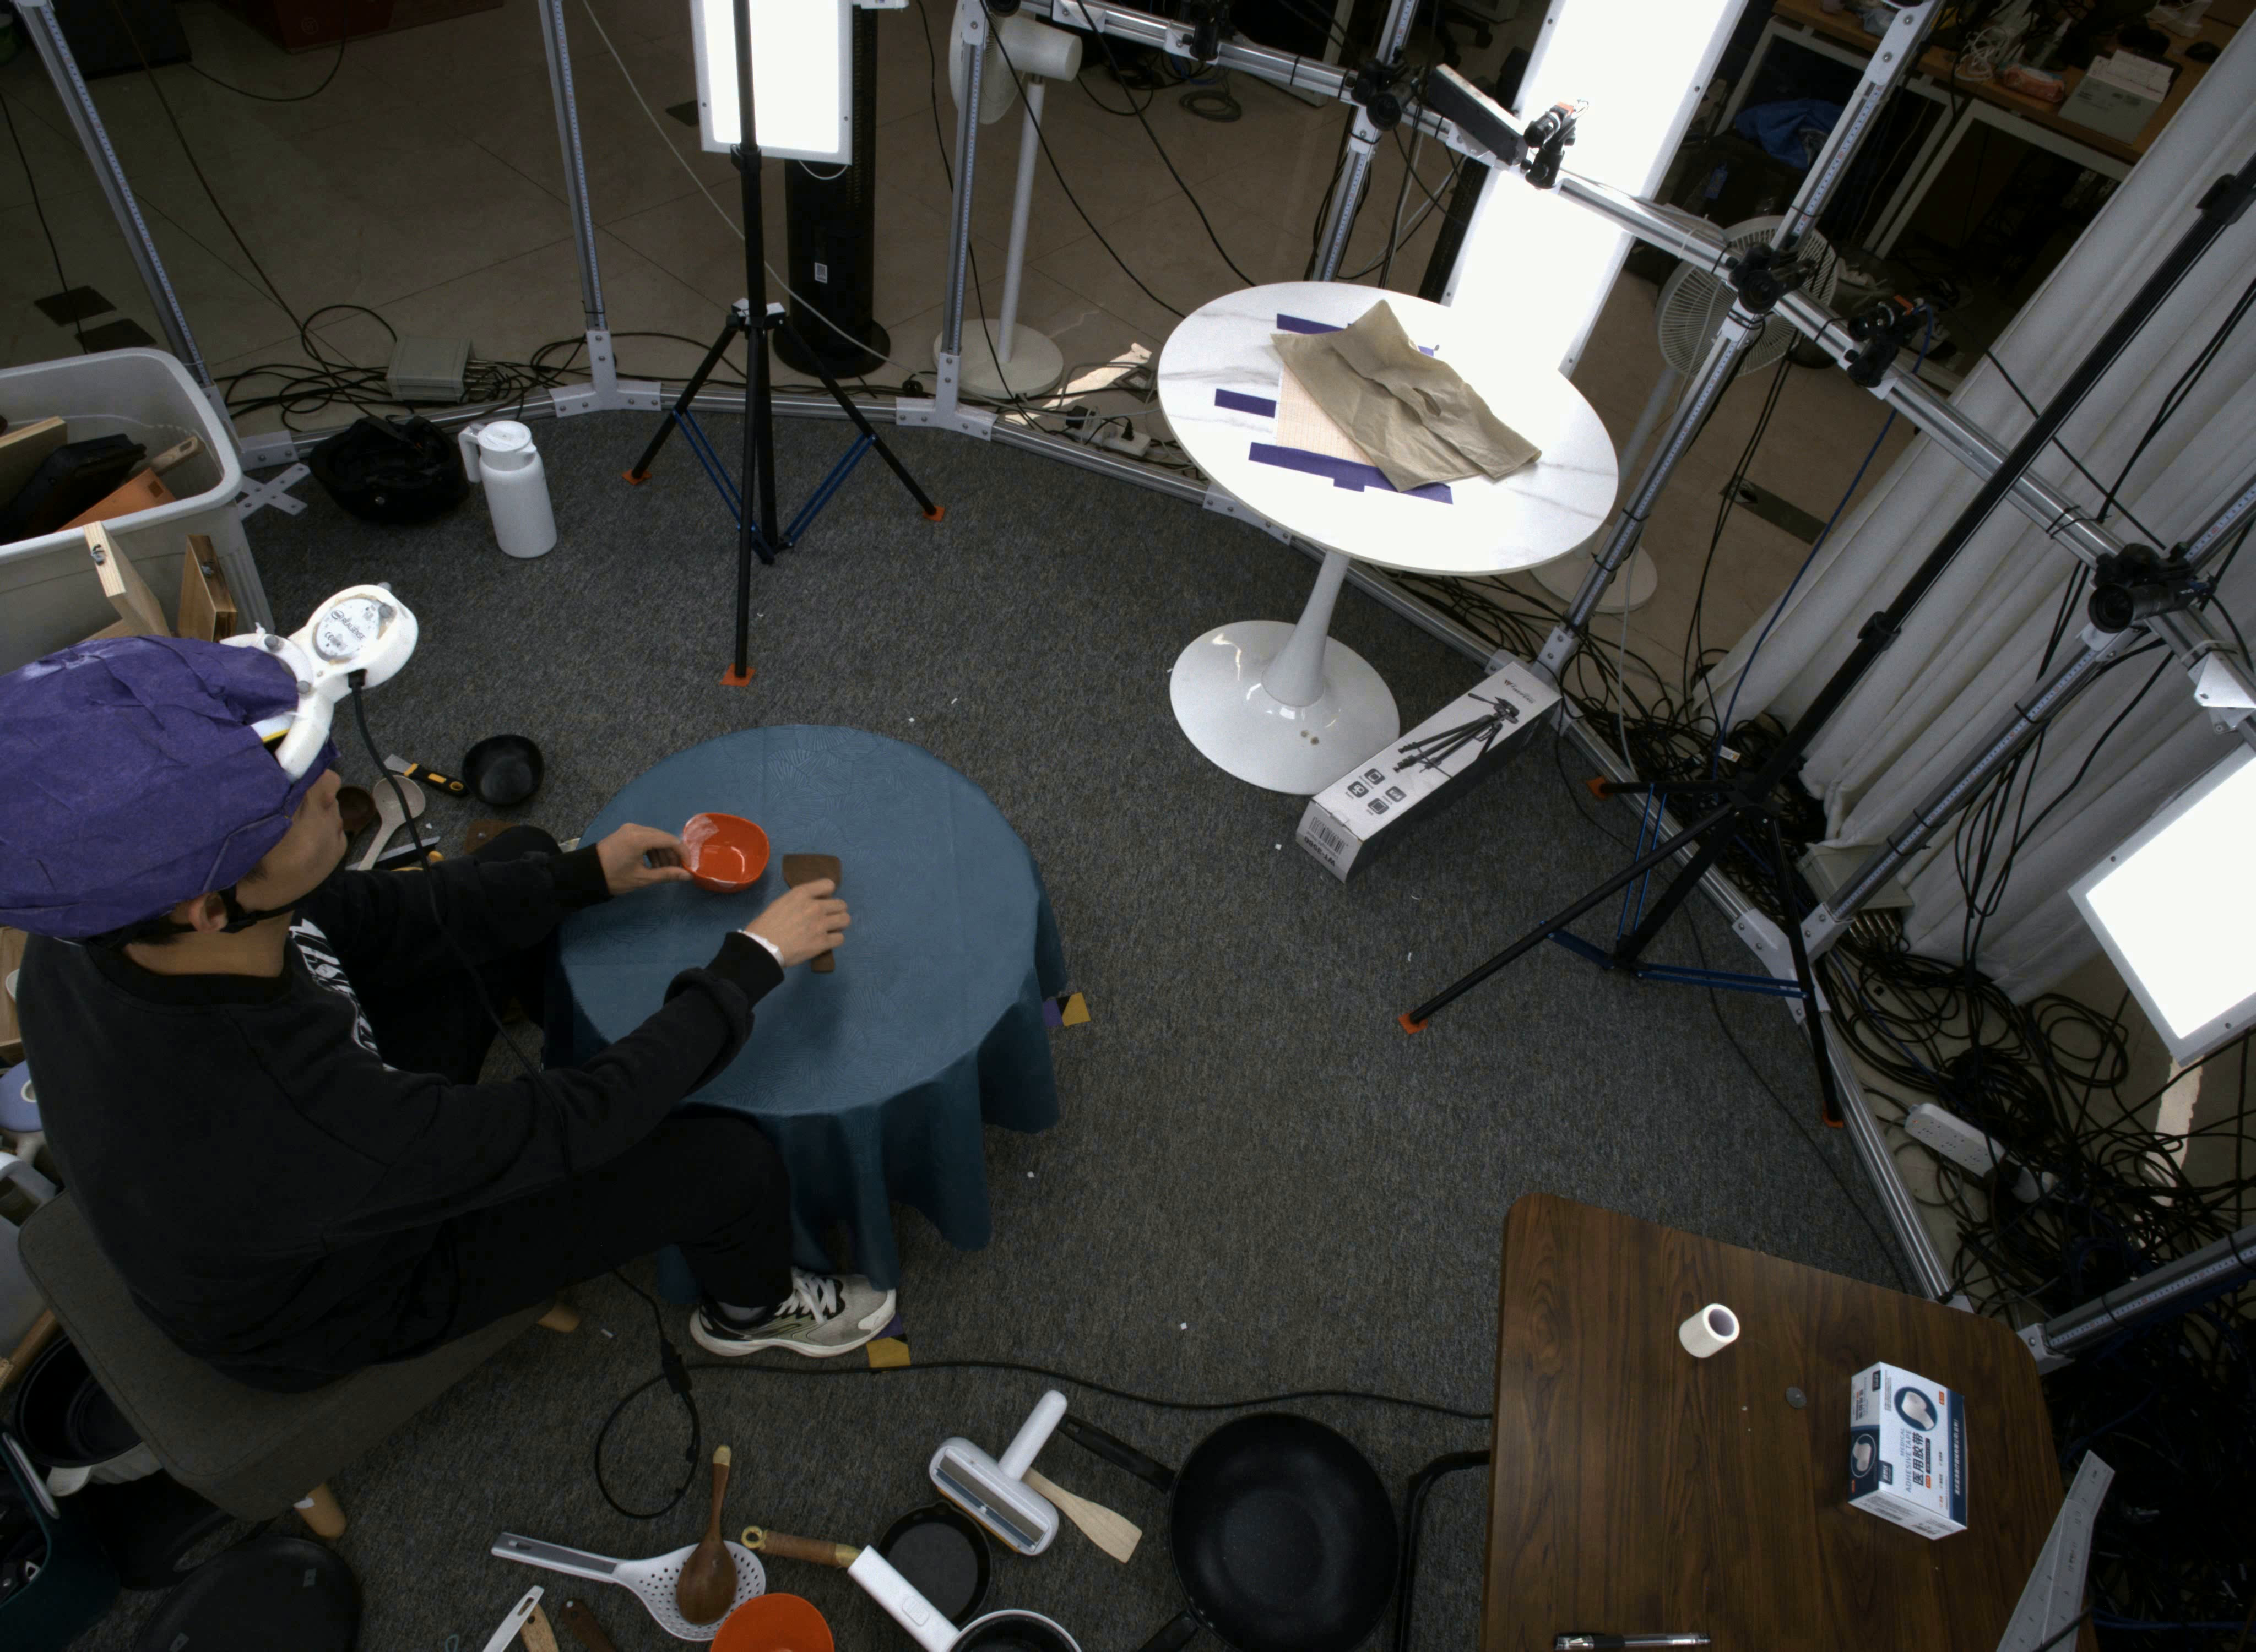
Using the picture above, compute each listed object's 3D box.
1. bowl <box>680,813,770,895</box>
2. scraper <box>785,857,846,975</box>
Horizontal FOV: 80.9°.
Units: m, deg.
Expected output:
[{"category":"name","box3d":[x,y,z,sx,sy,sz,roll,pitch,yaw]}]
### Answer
[{"category":"bowl","box3d":[-0.513,0.042,1.634,0.120,0.052,0.116,18,45,-17]},{"category":"scraper","box3d":[-0.373,0.104,1.566,0.076,0.011,0.205,4,37,-20]}]
